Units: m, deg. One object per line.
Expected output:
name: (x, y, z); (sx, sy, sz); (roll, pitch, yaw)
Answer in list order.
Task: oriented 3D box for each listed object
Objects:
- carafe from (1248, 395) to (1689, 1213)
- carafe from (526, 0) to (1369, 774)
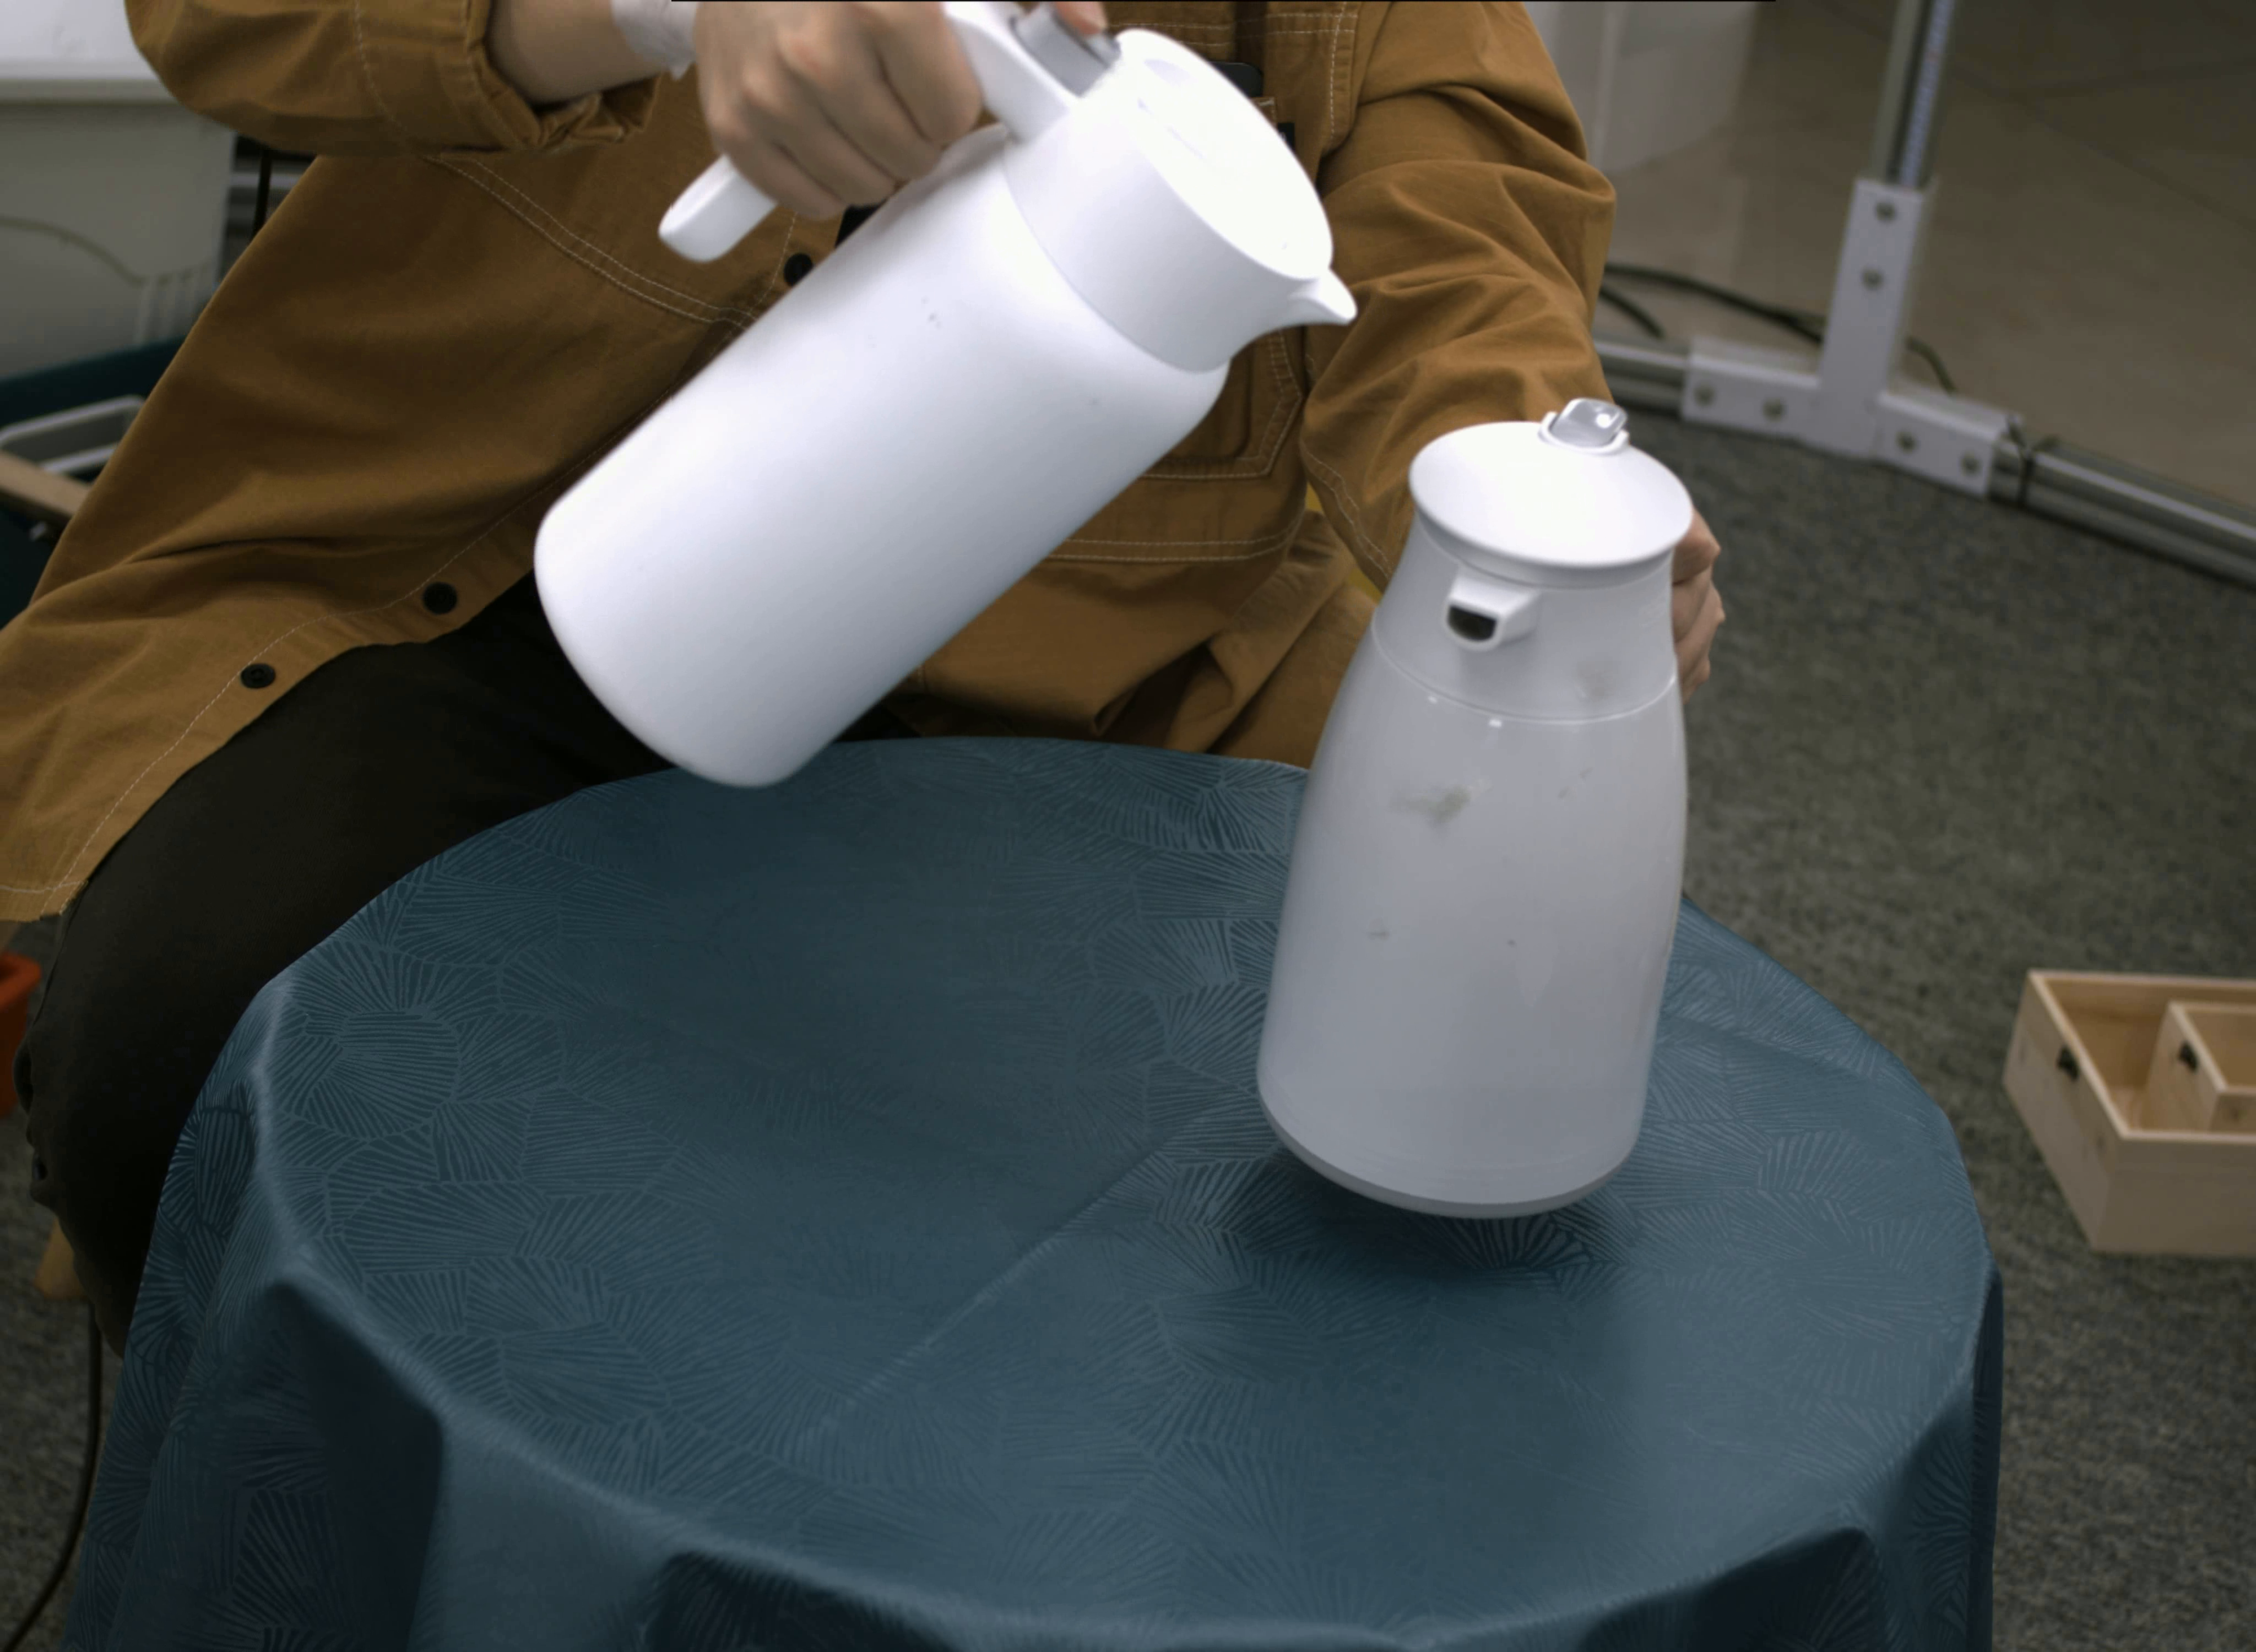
carafe: (0.126, -0.019, 1.763); (0.133, 0.247, 0.168); (18, 32, 17)
carafe: (-0.076, -0.146, 1.683); (0.172, 0.269, 0.124); (42, 29, -19)
